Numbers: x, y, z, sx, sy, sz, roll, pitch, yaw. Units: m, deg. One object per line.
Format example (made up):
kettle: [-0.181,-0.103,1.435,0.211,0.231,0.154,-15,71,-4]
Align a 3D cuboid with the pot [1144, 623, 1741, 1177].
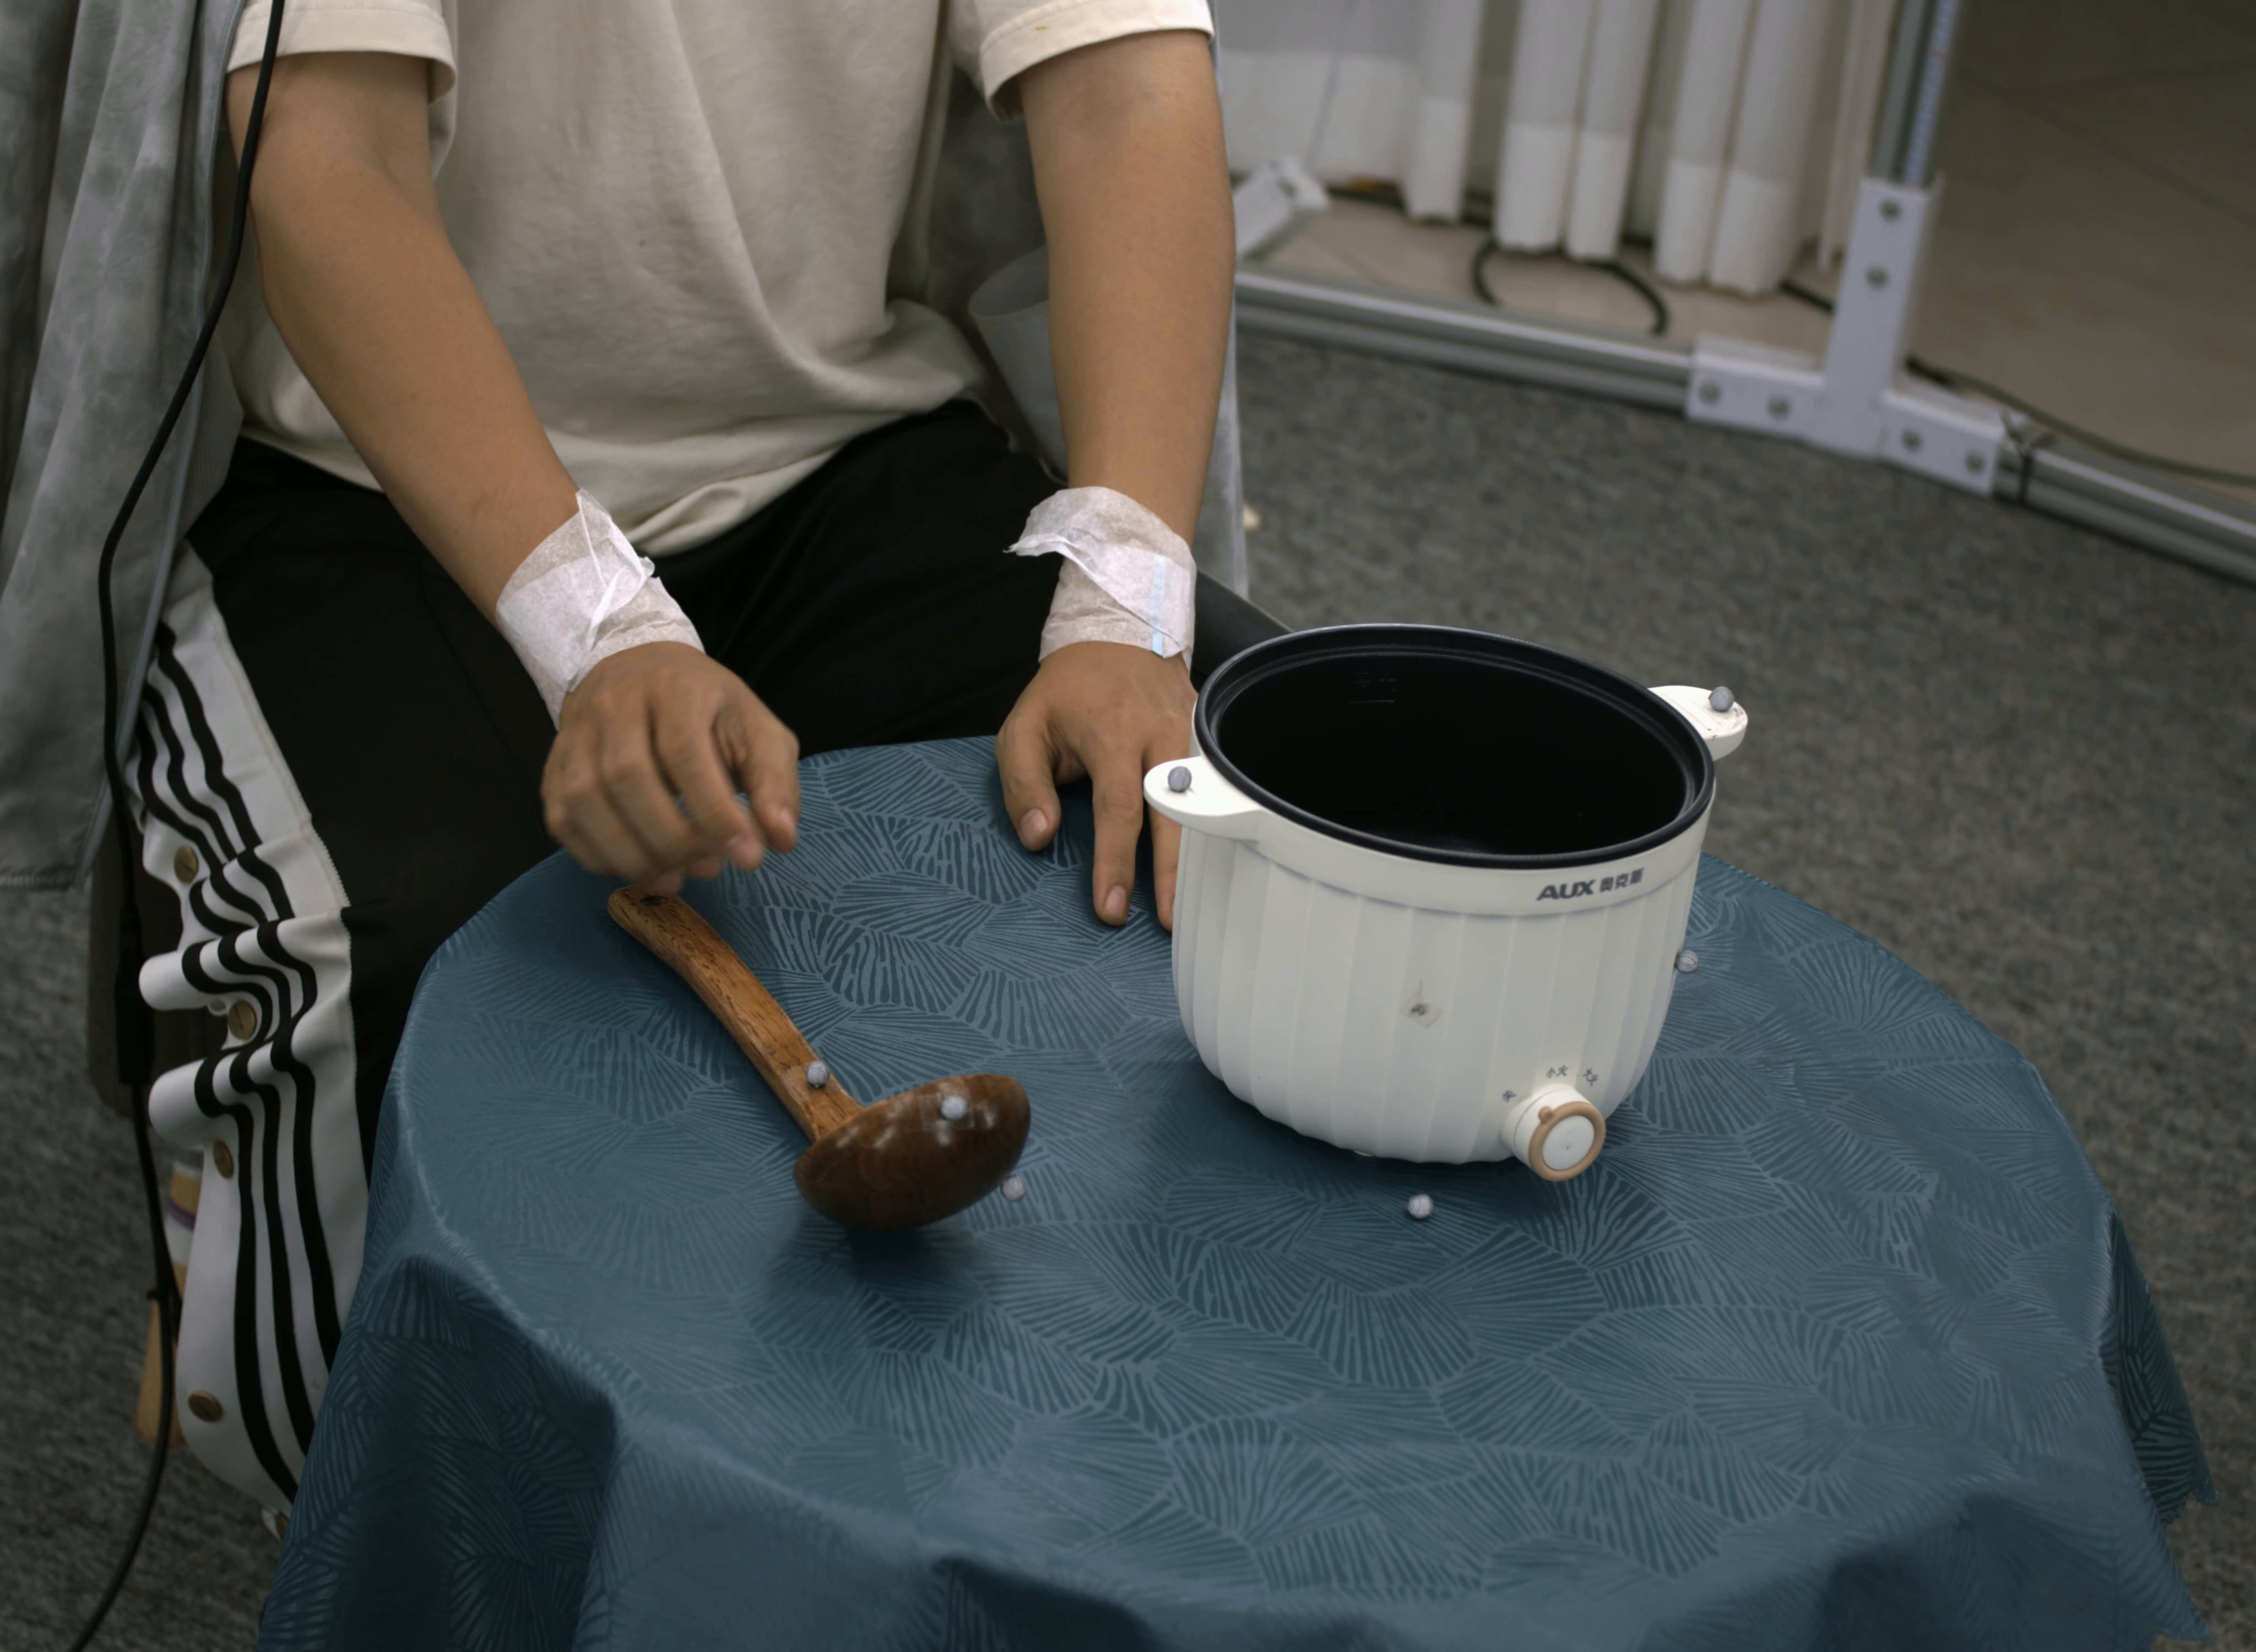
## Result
pot: [0.109,0.030,1.861,0.239,0.142,0.192,-10,28,-28]

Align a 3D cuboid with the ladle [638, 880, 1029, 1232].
ladle: [-0.116,0.059,1.823,0.081,0.076,0.276,-9,31,-23]
